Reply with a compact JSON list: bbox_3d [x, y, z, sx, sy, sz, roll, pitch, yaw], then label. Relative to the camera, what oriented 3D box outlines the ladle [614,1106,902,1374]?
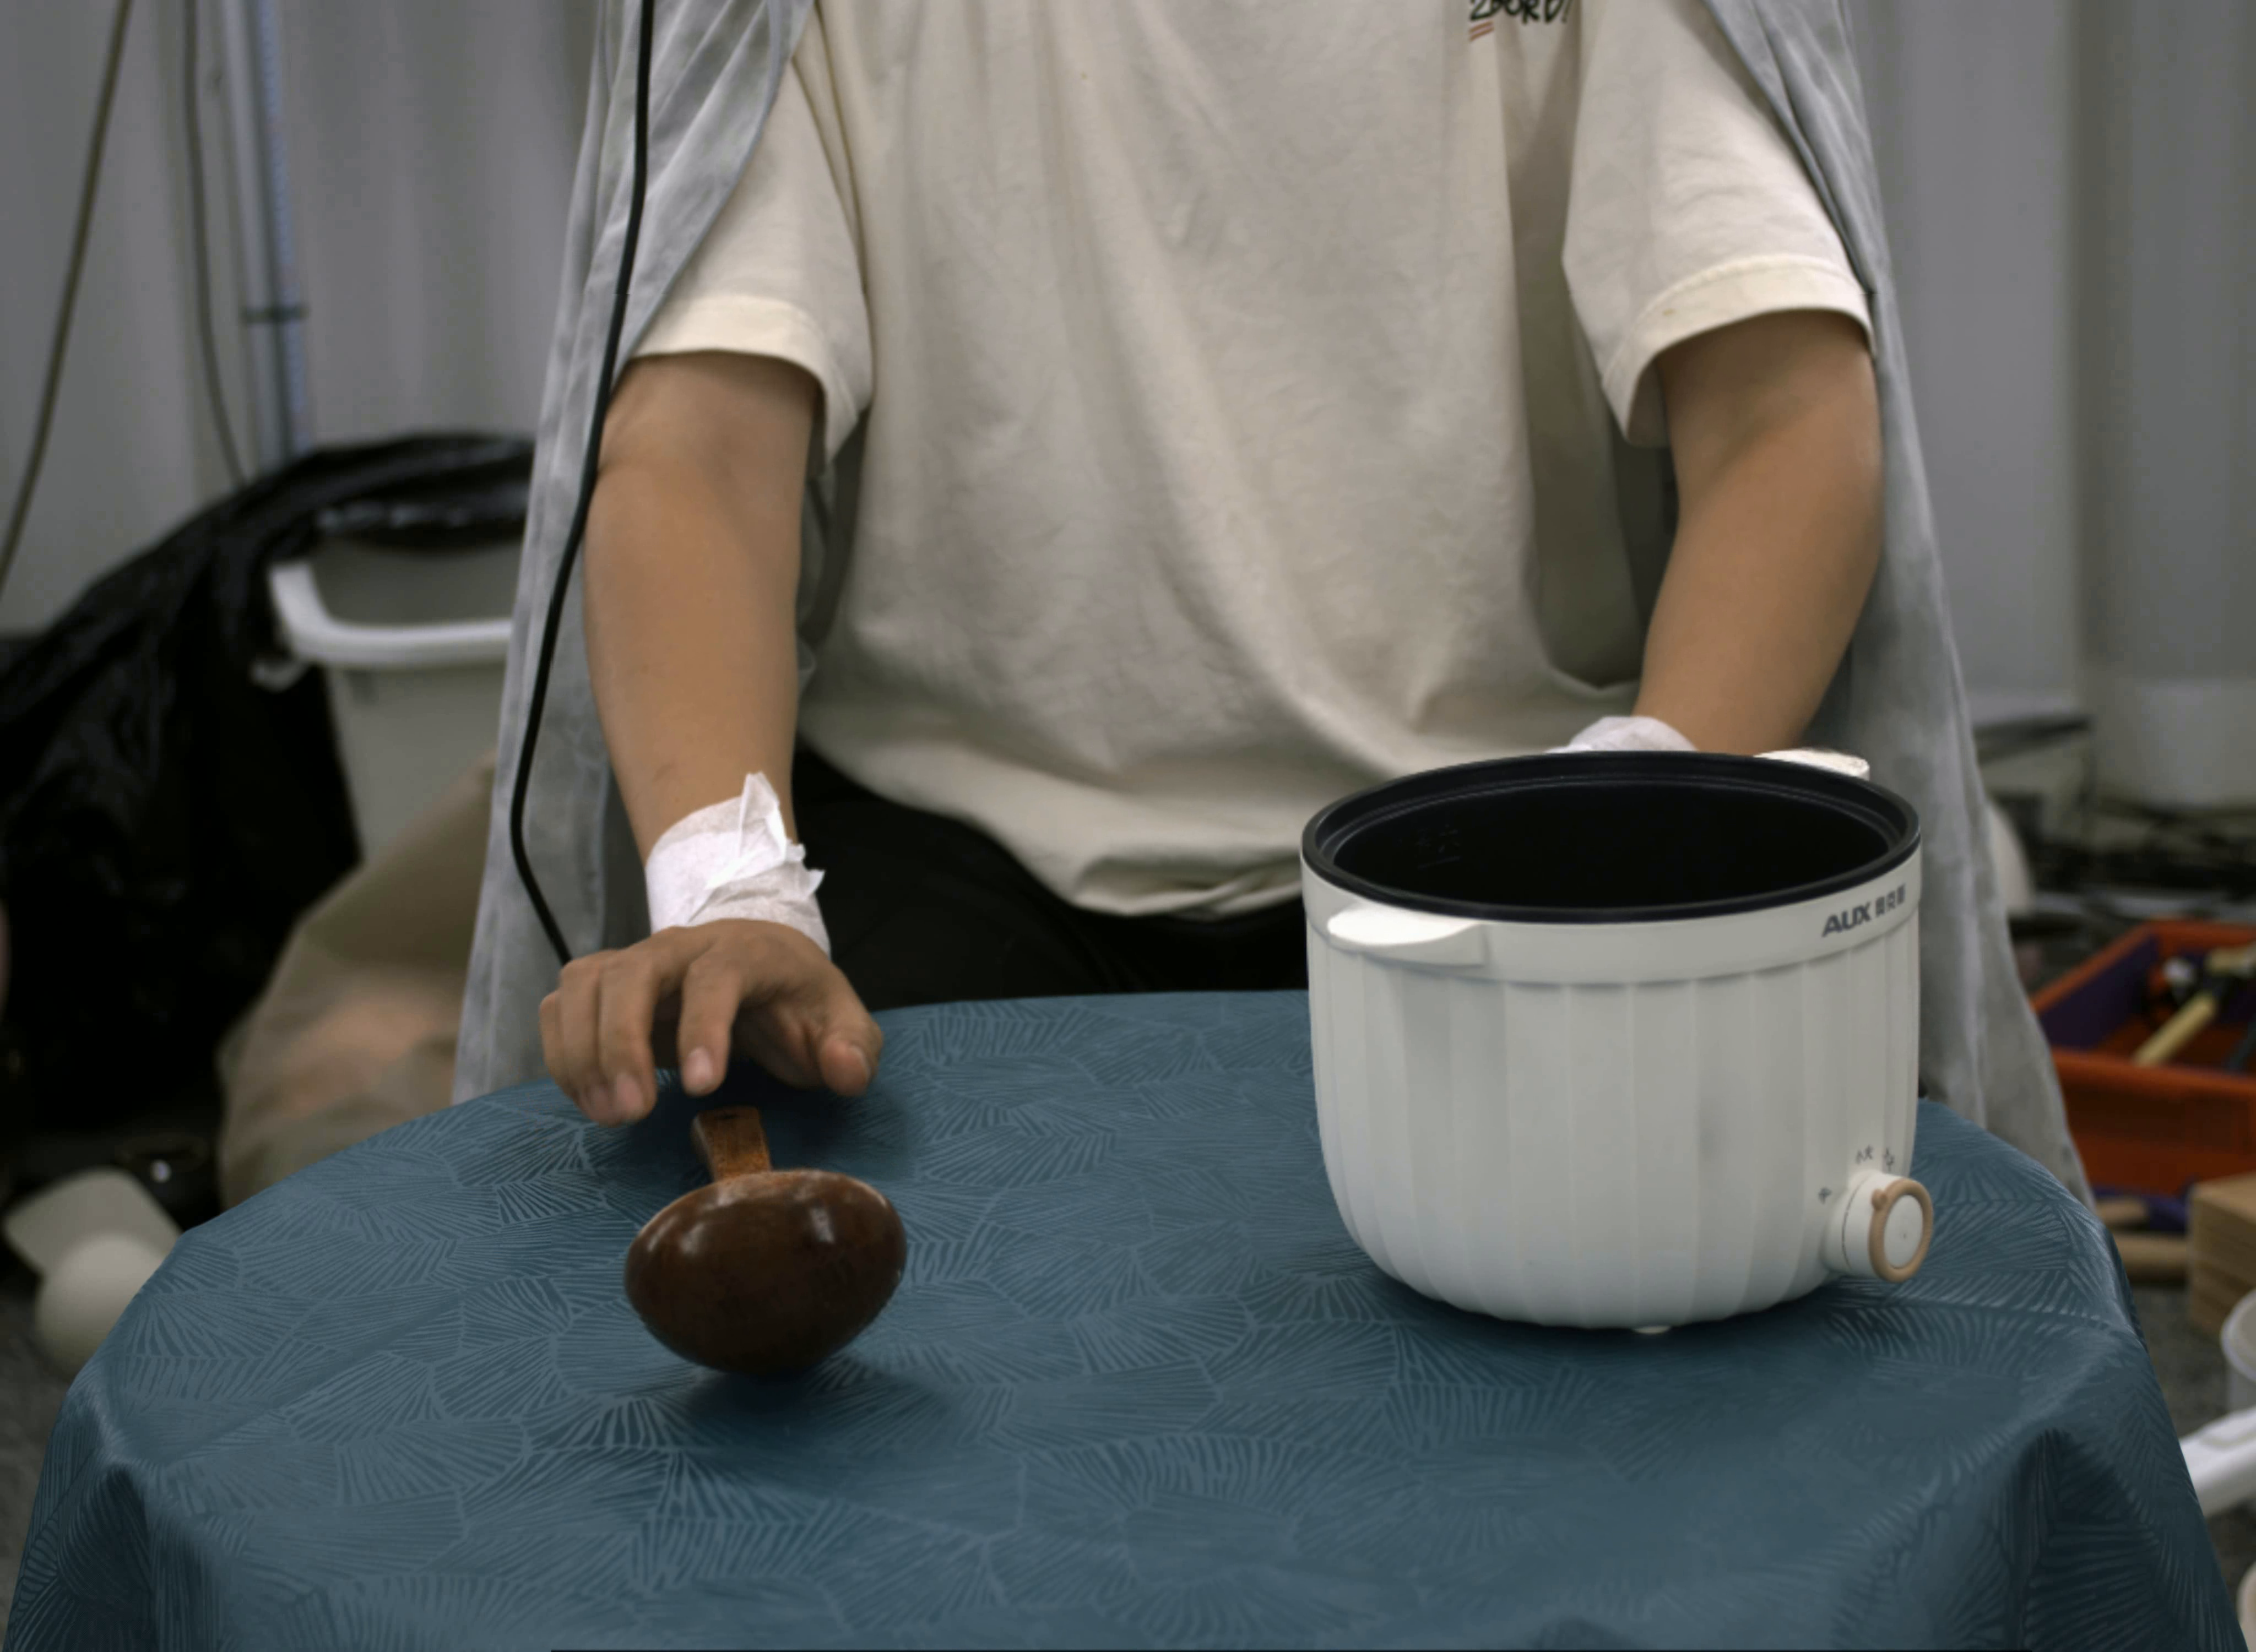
[{"bbox_3d":[-0.115,0.100,1.647,0.081,0.076,0.276,-4,15,-5],"label":"ladle"}]

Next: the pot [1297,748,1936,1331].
[{"bbox_3d":[0.148,0.064,1.611,0.191,0.142,0.240,5,17,40],"label":"pot"}]
